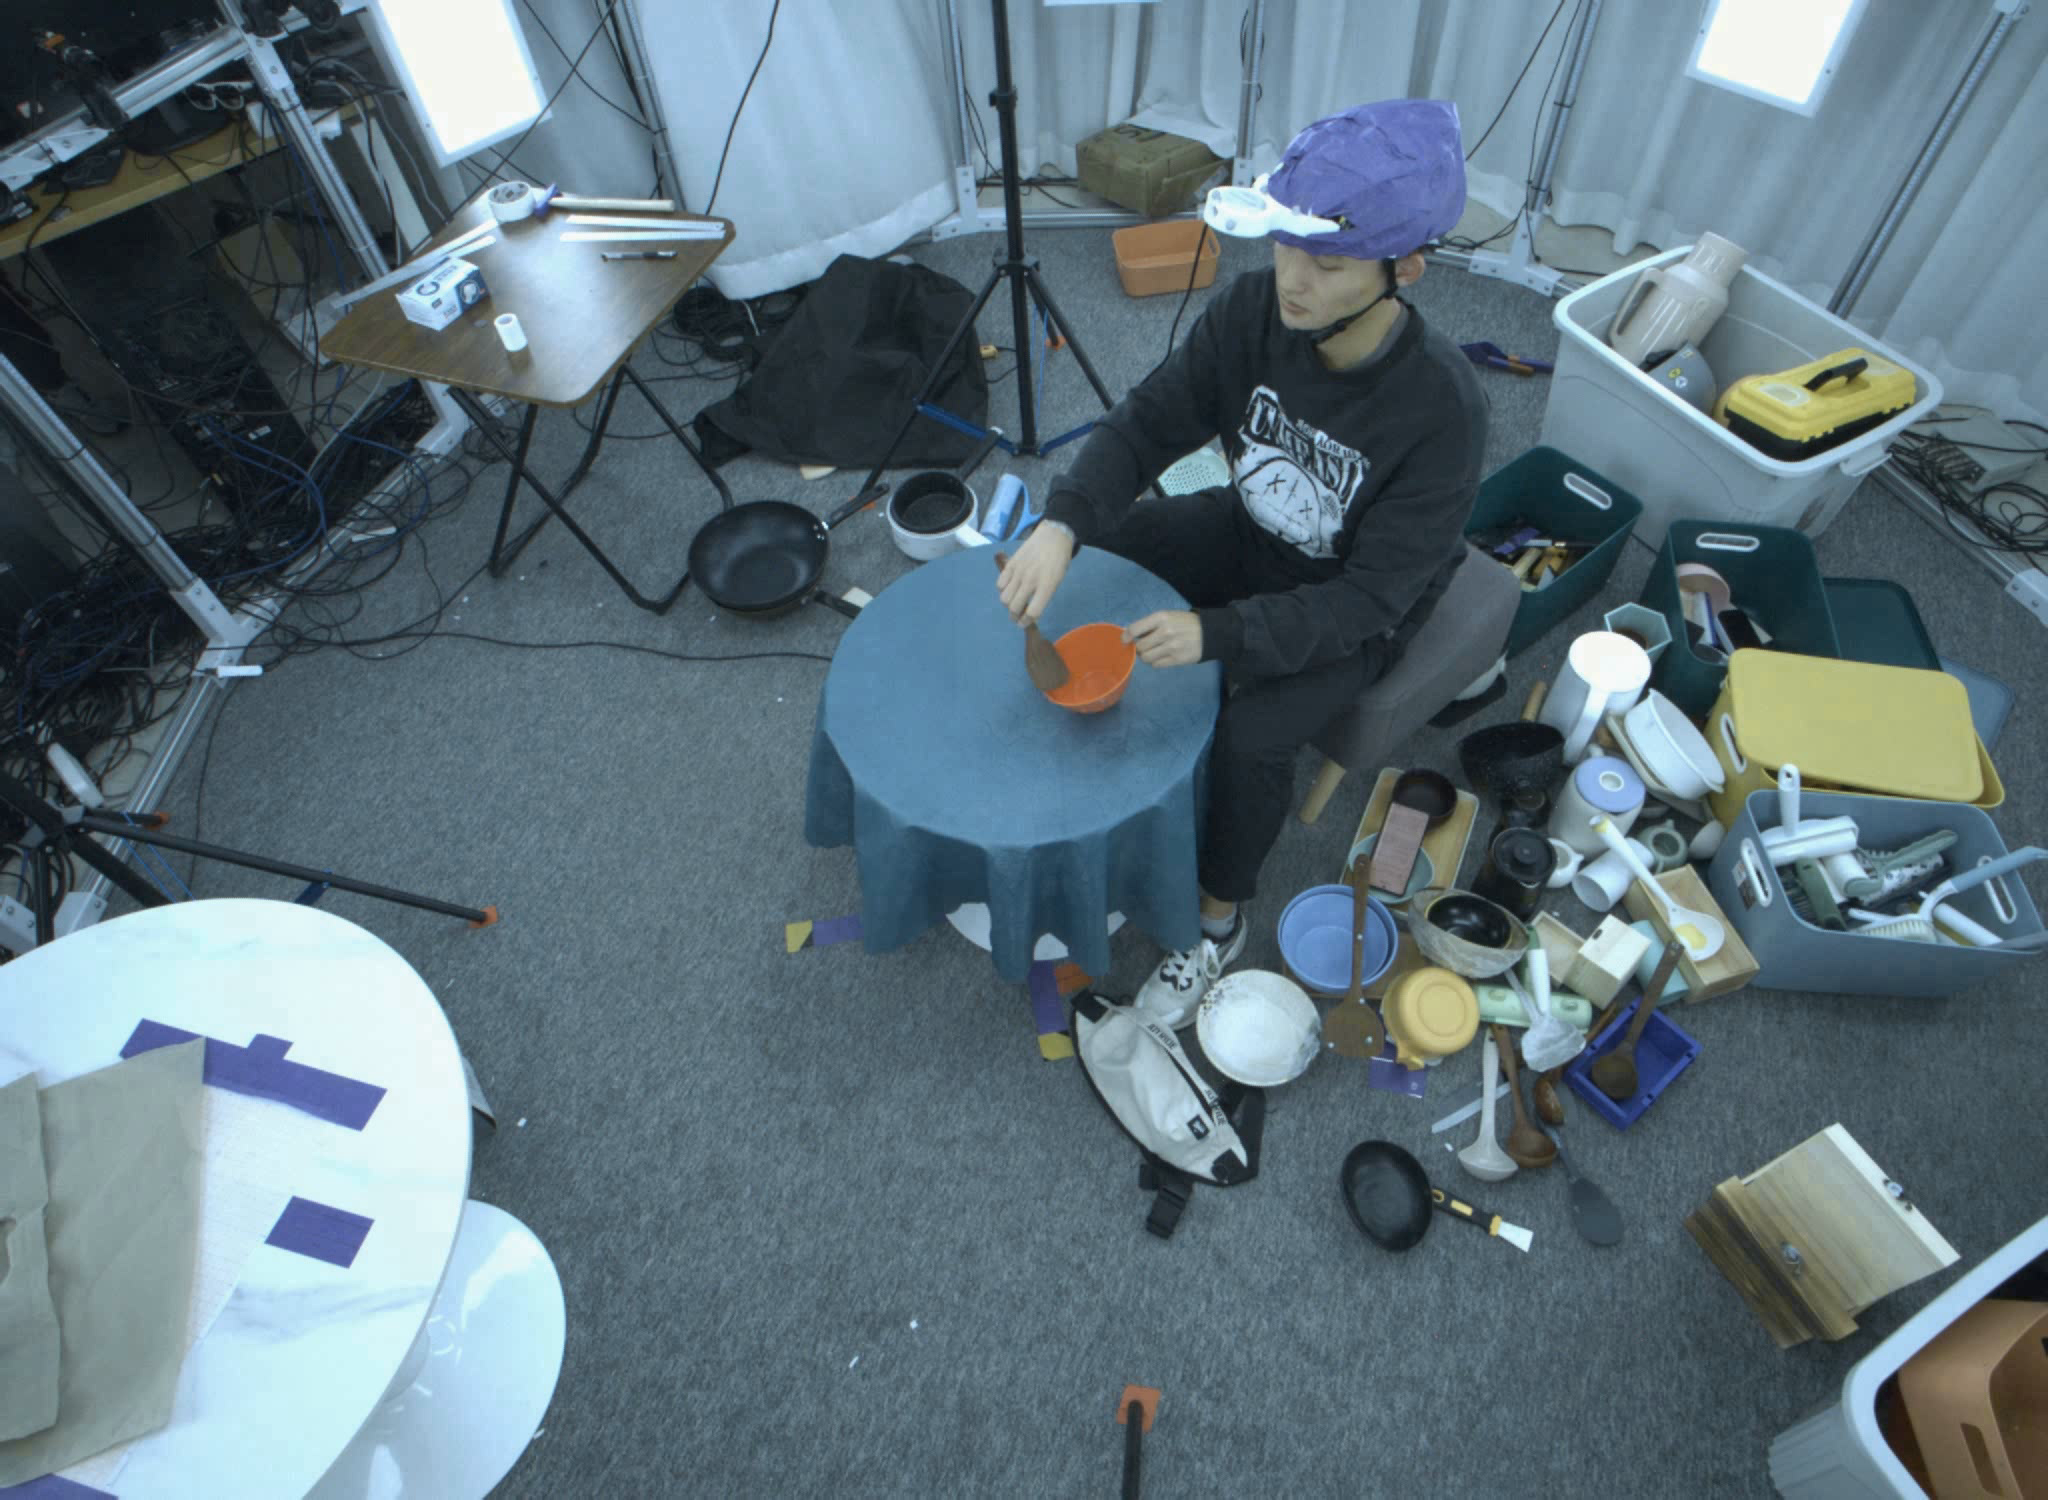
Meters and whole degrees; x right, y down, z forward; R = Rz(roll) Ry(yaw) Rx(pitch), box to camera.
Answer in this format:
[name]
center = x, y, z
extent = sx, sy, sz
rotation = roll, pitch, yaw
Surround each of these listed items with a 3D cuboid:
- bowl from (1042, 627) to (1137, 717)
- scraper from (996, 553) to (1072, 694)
[bowl]
center = 0.103, -0.098, 1.793
extent = 0.146, 0.106, 0.146
rotation = -7, 60, 15
[scraper]
center = 0.006, -0.180, 1.743
extent = 0.077, 0.010, 0.211
rotation = -23, 92, -43
